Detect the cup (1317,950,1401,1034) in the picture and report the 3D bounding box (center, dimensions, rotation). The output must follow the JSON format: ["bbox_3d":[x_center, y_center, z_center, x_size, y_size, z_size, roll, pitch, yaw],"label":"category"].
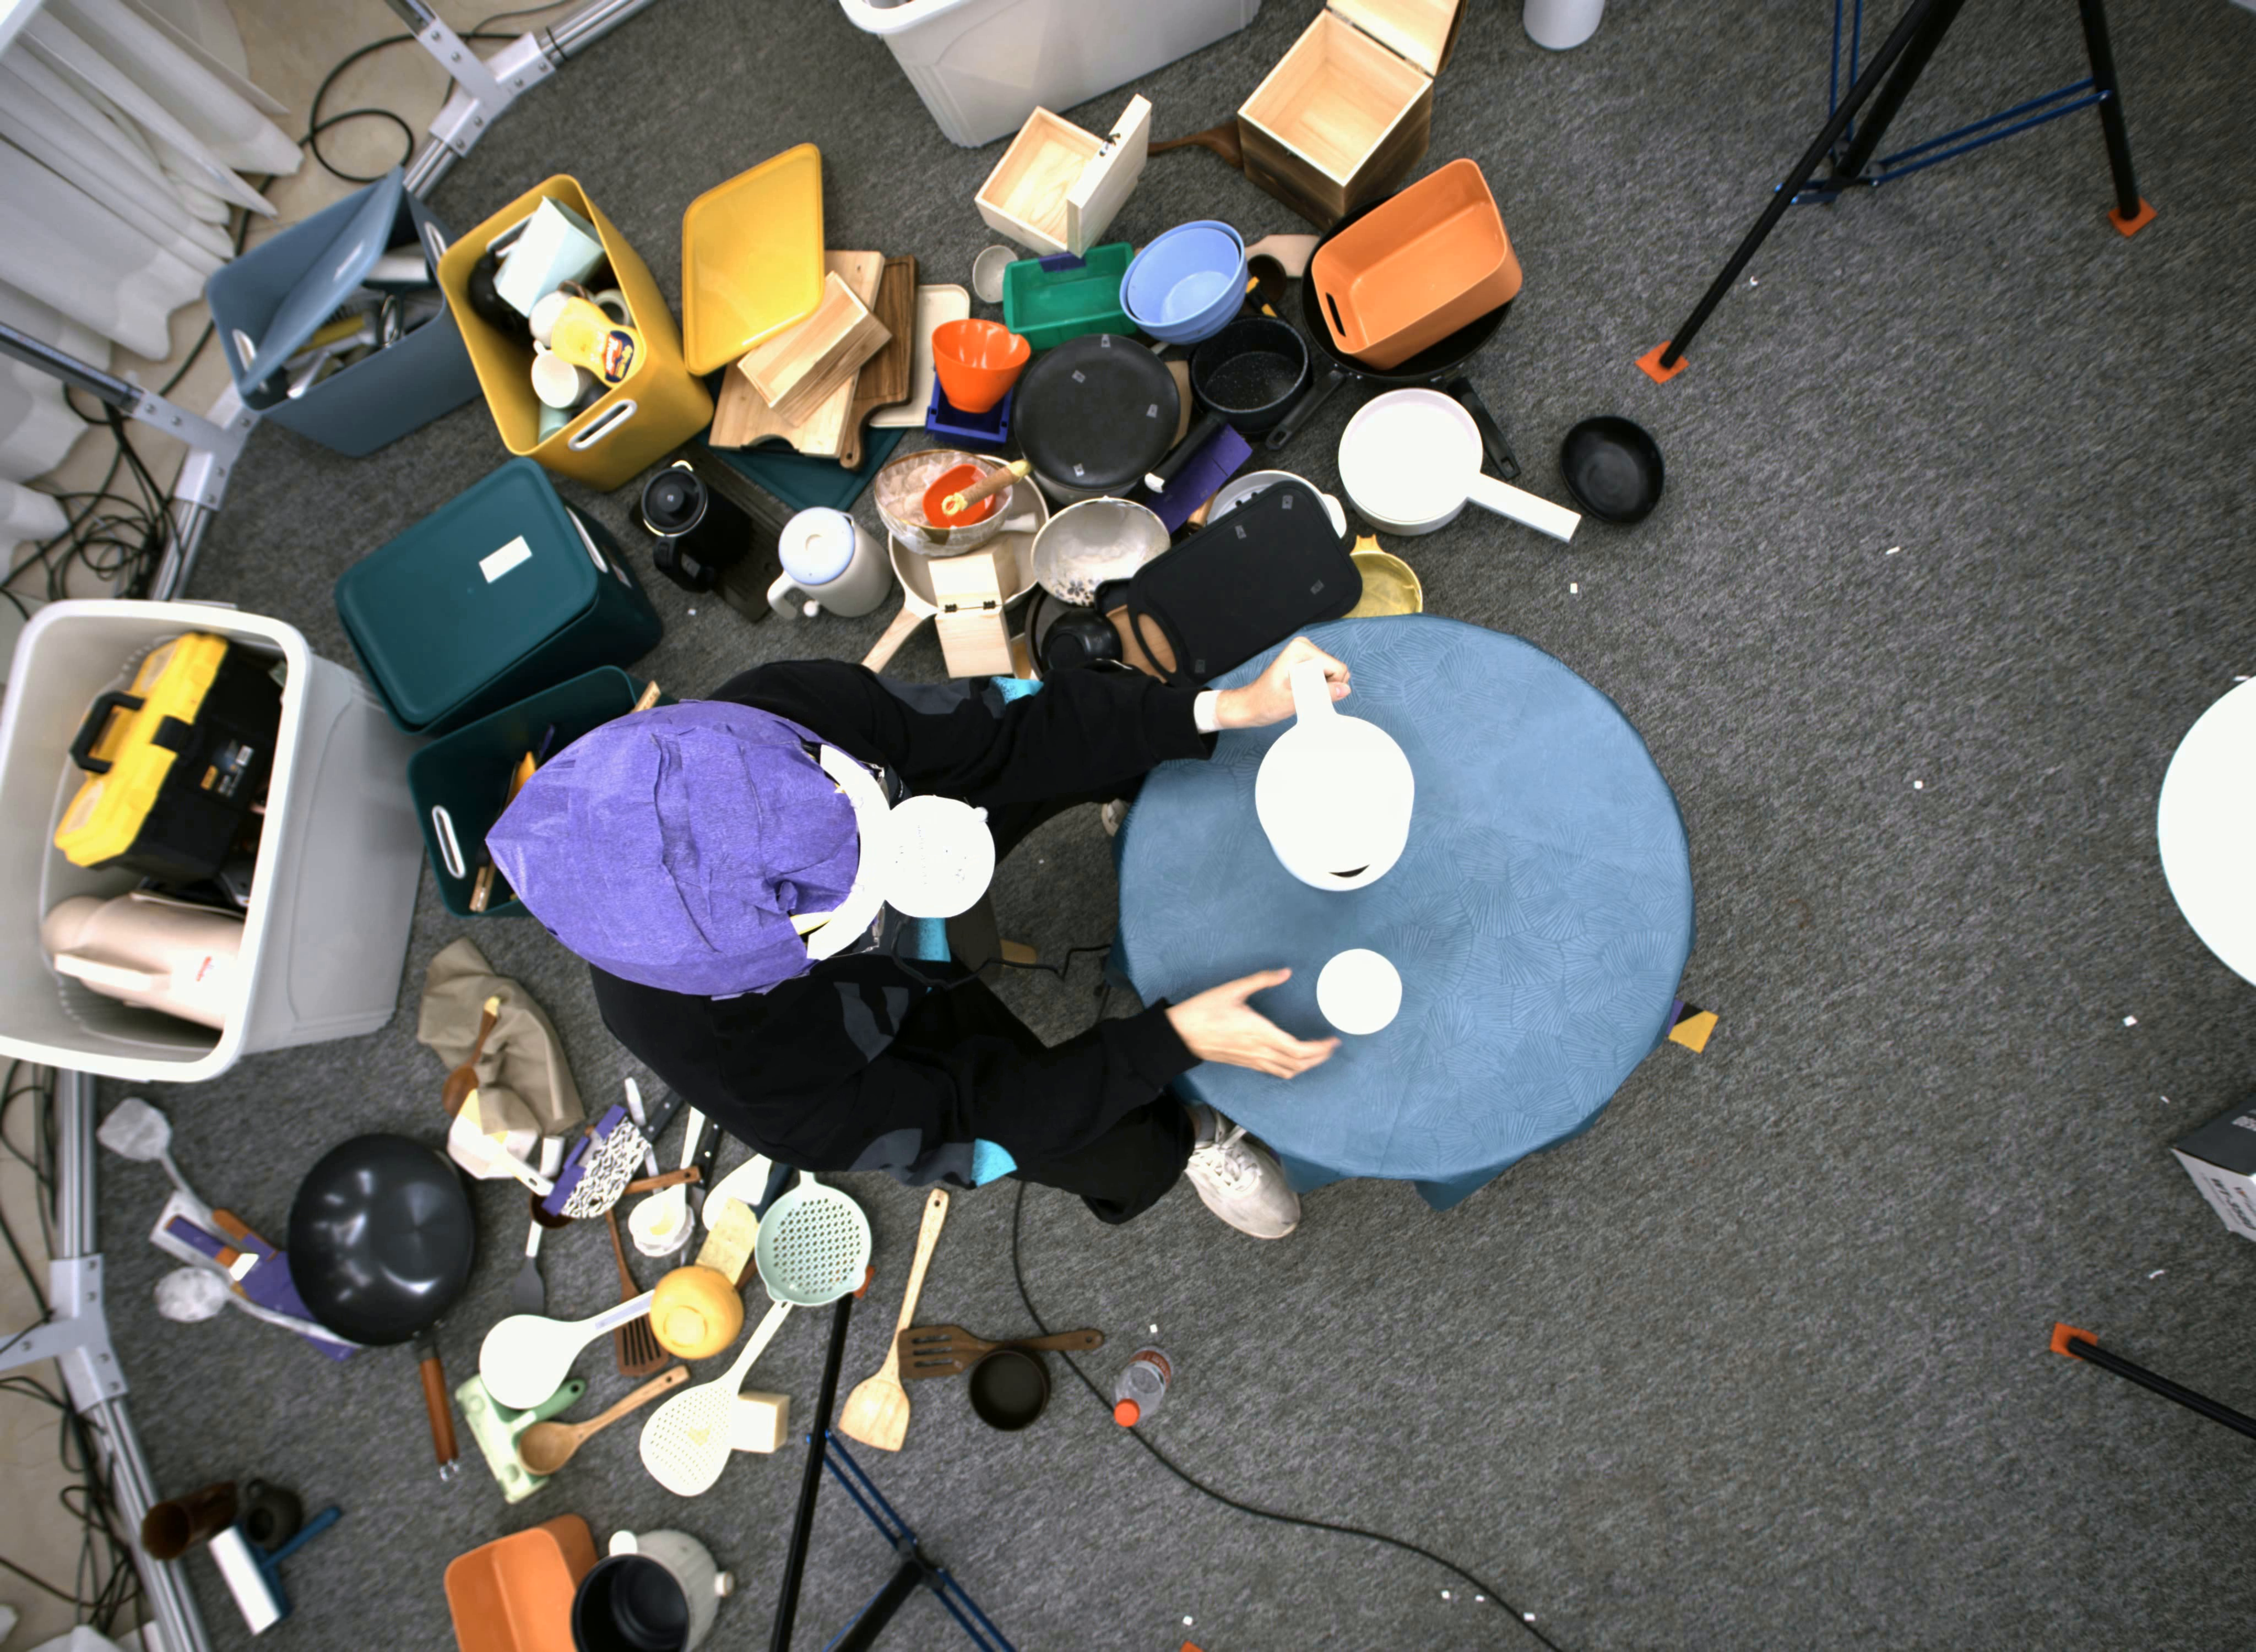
[{"bbox_3d":[0.233,0.165,1.394,0.082,0.125,0.081,-1,85,10],"label":"cup"}]

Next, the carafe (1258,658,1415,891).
[{"bbox_3d":[0.201,-0.045,1.356,0.153,0.240,0.212,-12,84,7],"label":"carafe"}]
